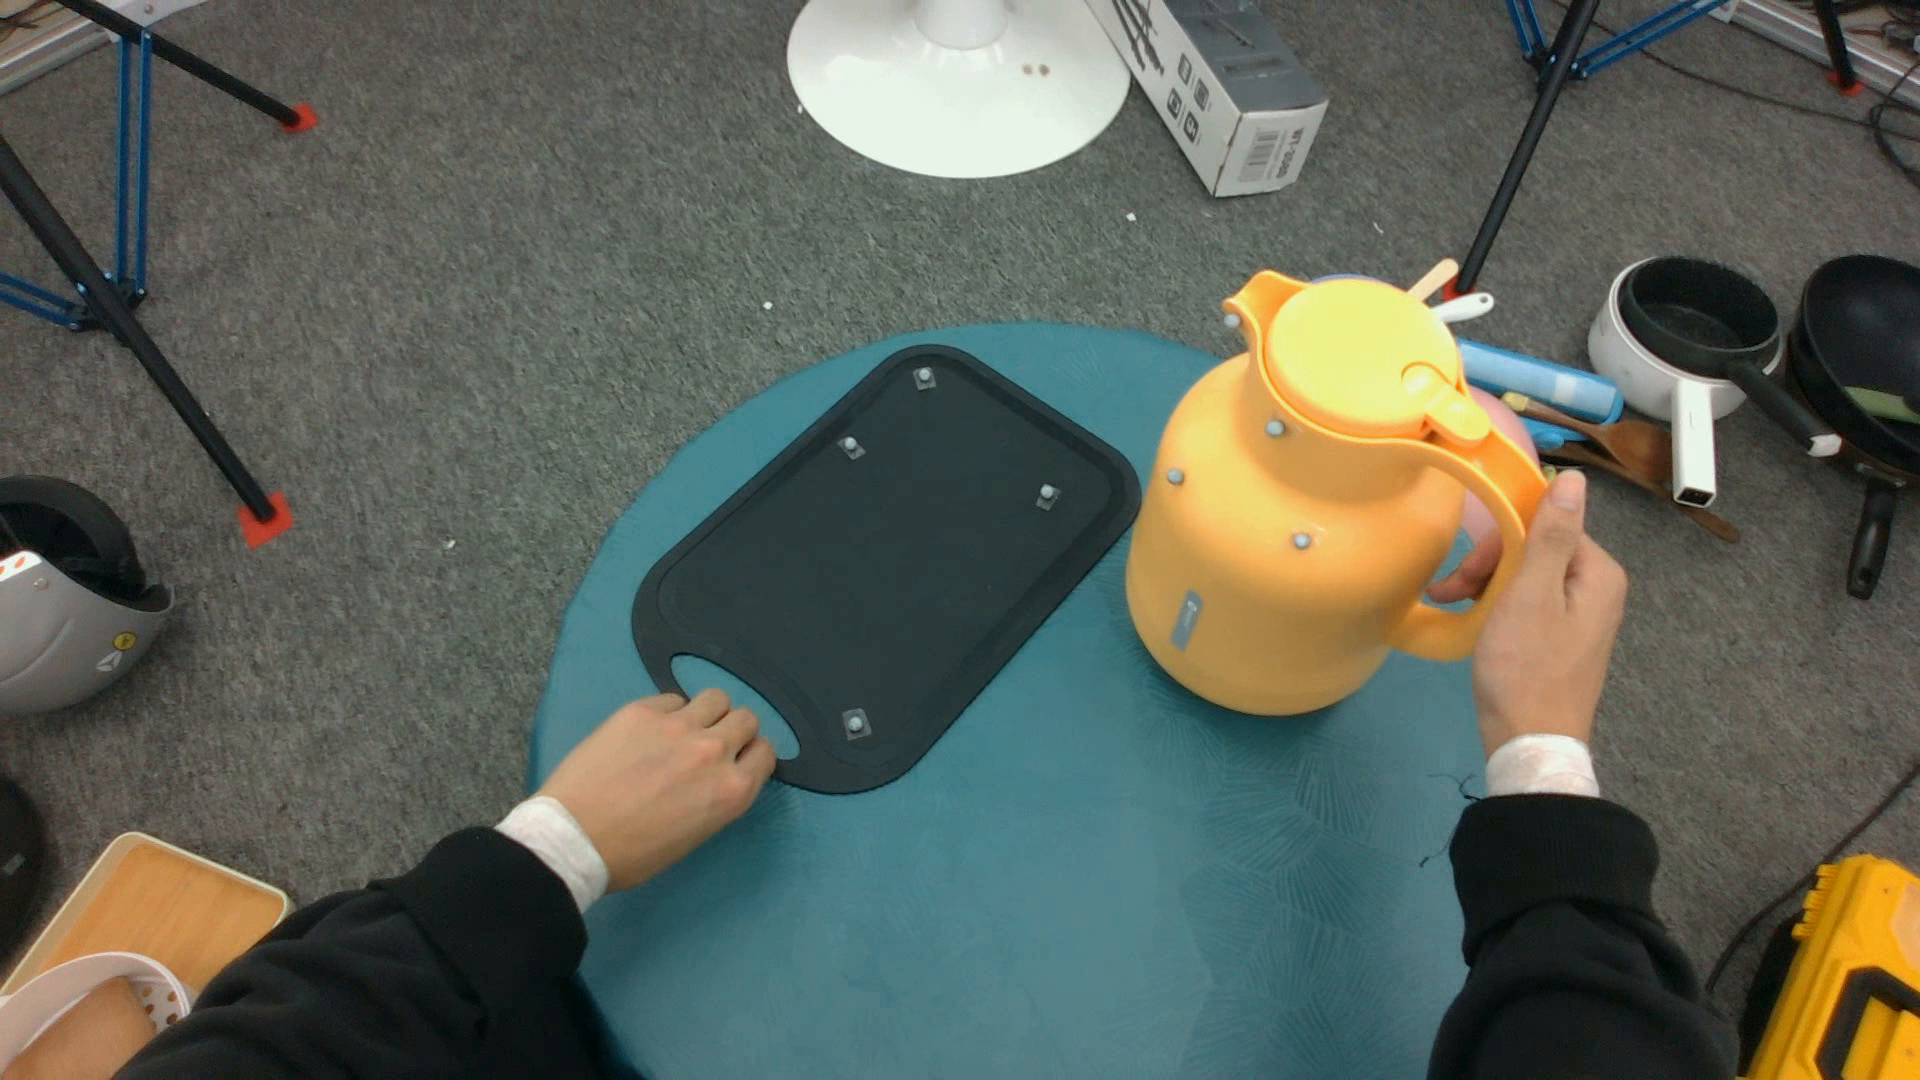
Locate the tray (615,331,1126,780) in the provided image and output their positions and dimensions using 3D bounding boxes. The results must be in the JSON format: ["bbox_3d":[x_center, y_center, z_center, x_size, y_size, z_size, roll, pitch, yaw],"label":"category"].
[{"bbox_3d":[-0.054,0.000,0.860,0.211,0.010,0.327,35,62,18],"label":"tray"}]

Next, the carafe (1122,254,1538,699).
[{"bbox_3d":[0.191,-0.019,0.737,0.164,0.259,0.202,-38,65,-21],"label":"carafe"}]
